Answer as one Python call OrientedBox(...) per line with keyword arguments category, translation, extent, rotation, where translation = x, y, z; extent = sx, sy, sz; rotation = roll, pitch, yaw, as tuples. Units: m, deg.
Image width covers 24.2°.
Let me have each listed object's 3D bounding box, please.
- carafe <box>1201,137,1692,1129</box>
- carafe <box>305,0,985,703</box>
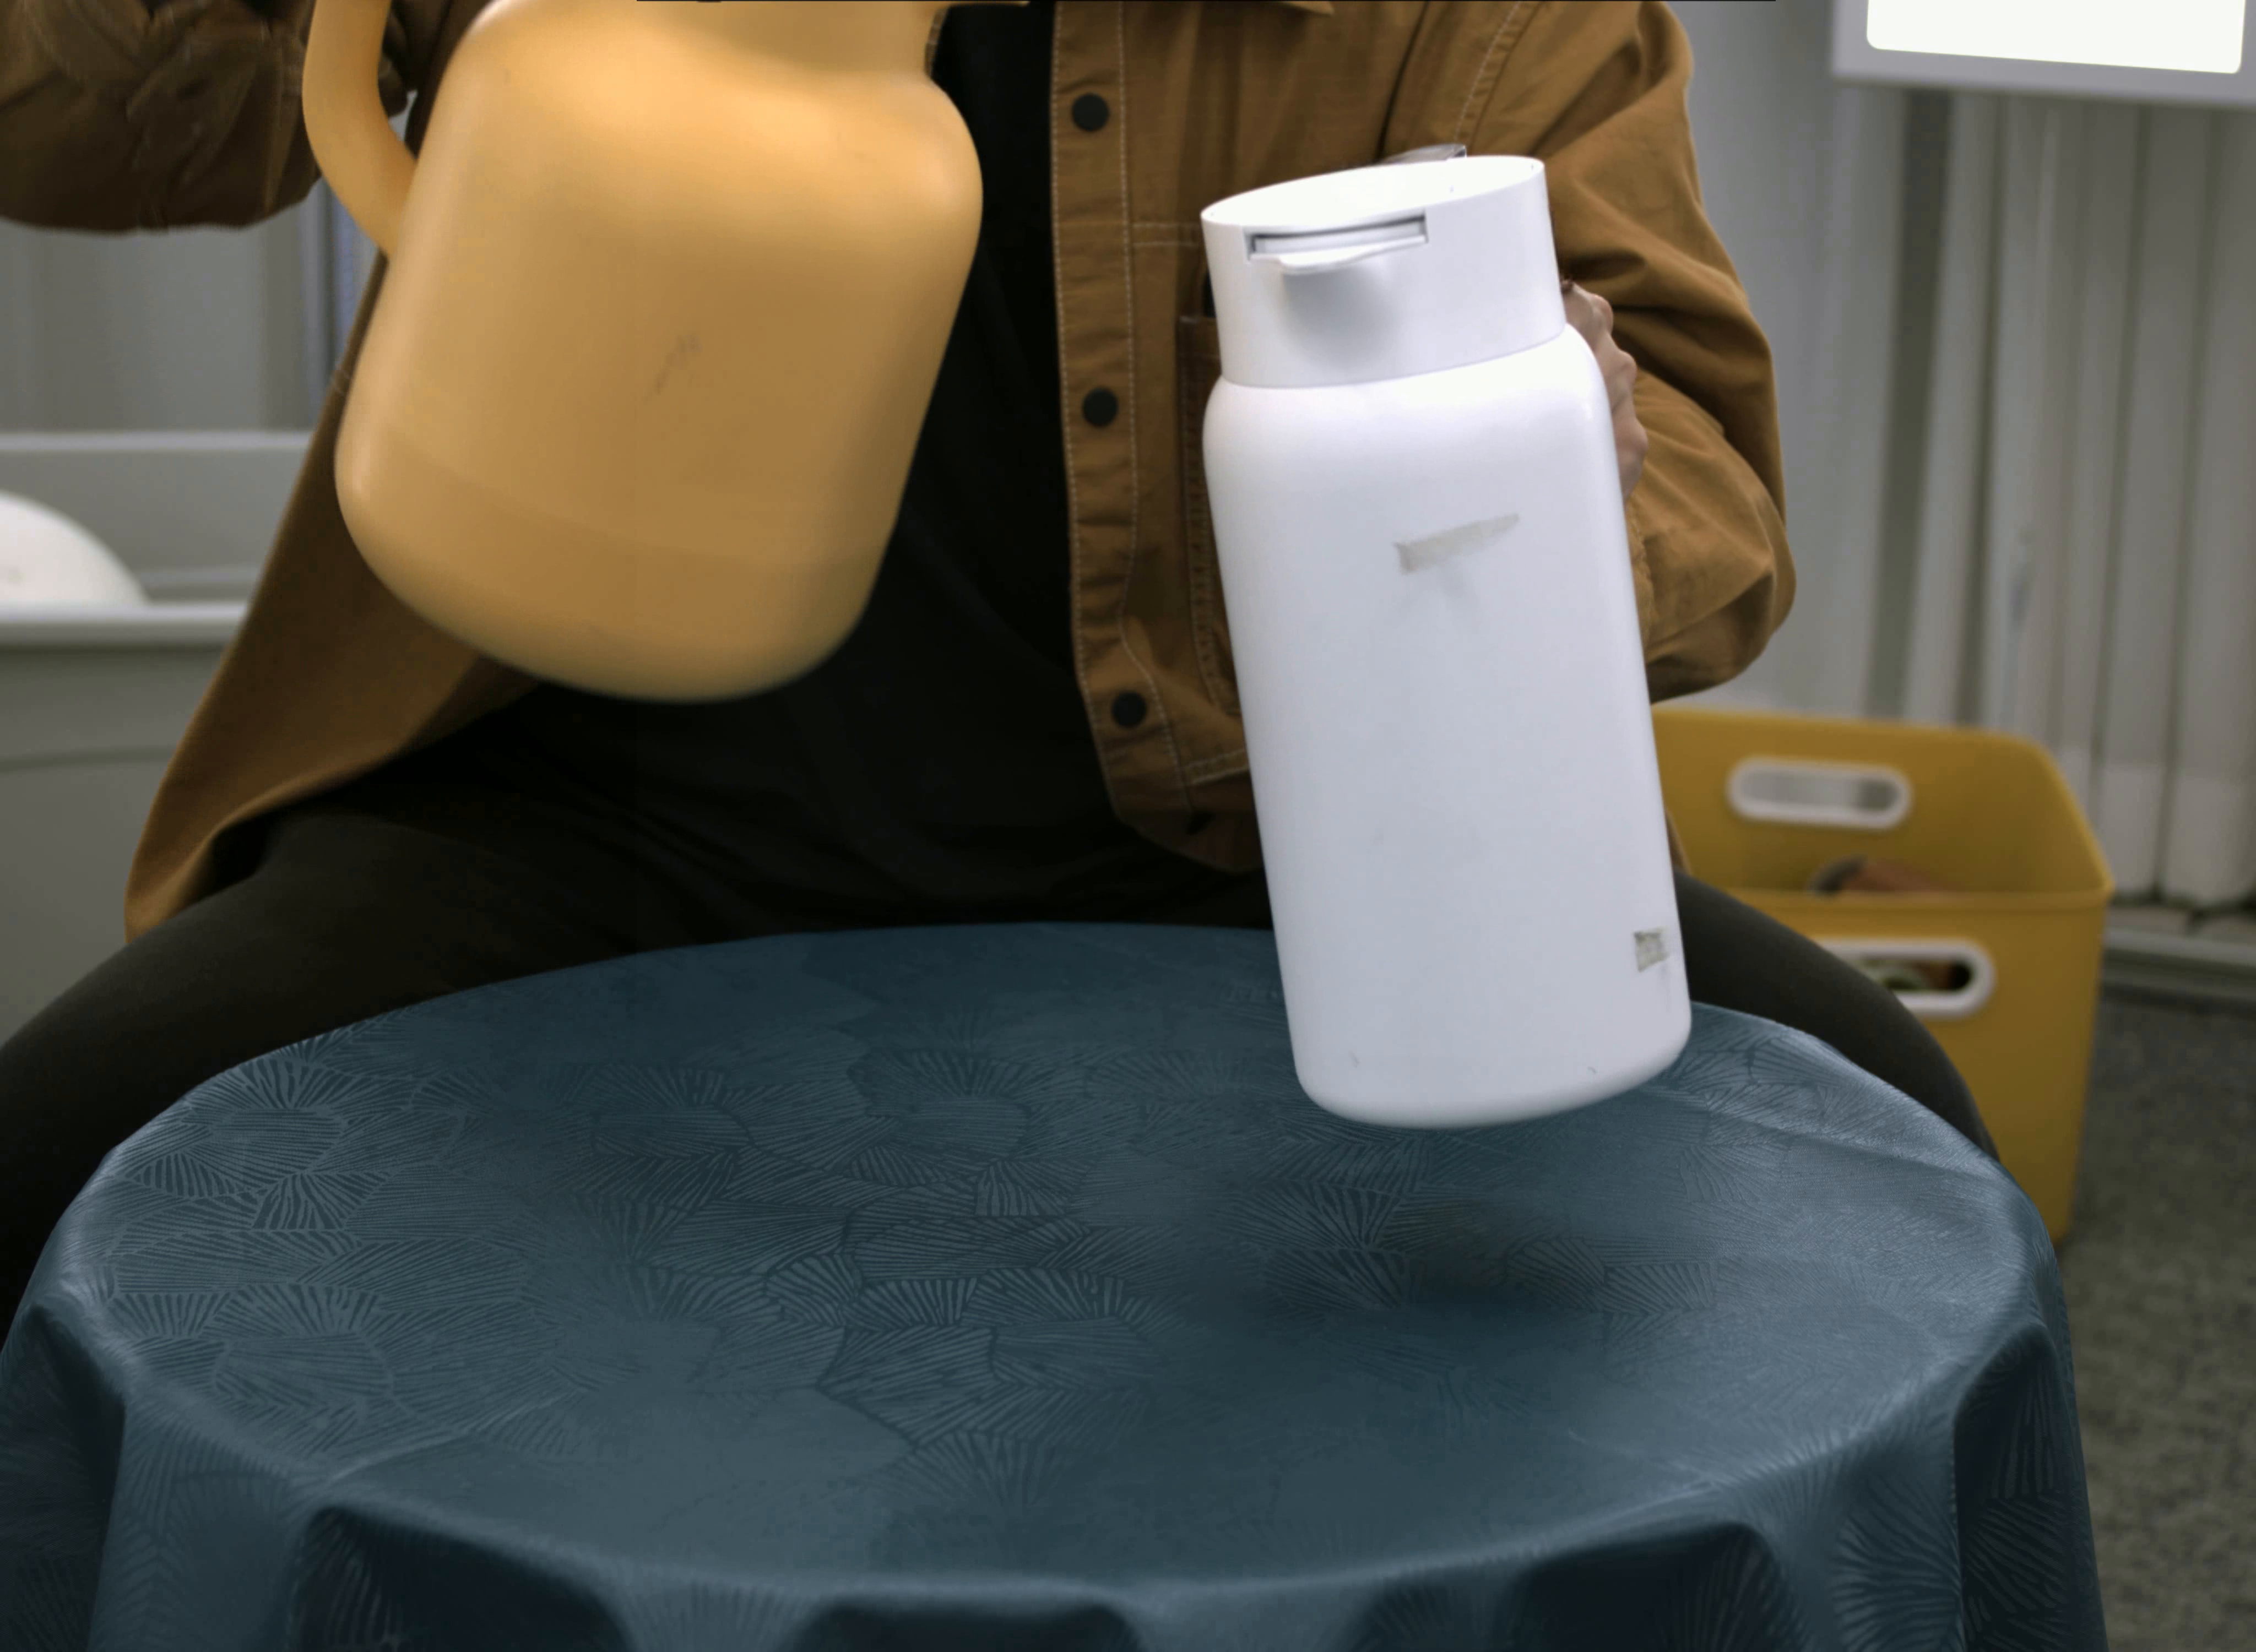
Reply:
OrientedBox(category="carafe", translation=(0.092, -0.059, 1.524), extent=(0.123, 0.271, 0.173), rotation=(-6, 14, 19))
OrientedBox(category="carafe", translation=(-0.142, -0.183, 1.505), extent=(0.201, 0.262, 0.163), rotation=(23, 21, 7))
